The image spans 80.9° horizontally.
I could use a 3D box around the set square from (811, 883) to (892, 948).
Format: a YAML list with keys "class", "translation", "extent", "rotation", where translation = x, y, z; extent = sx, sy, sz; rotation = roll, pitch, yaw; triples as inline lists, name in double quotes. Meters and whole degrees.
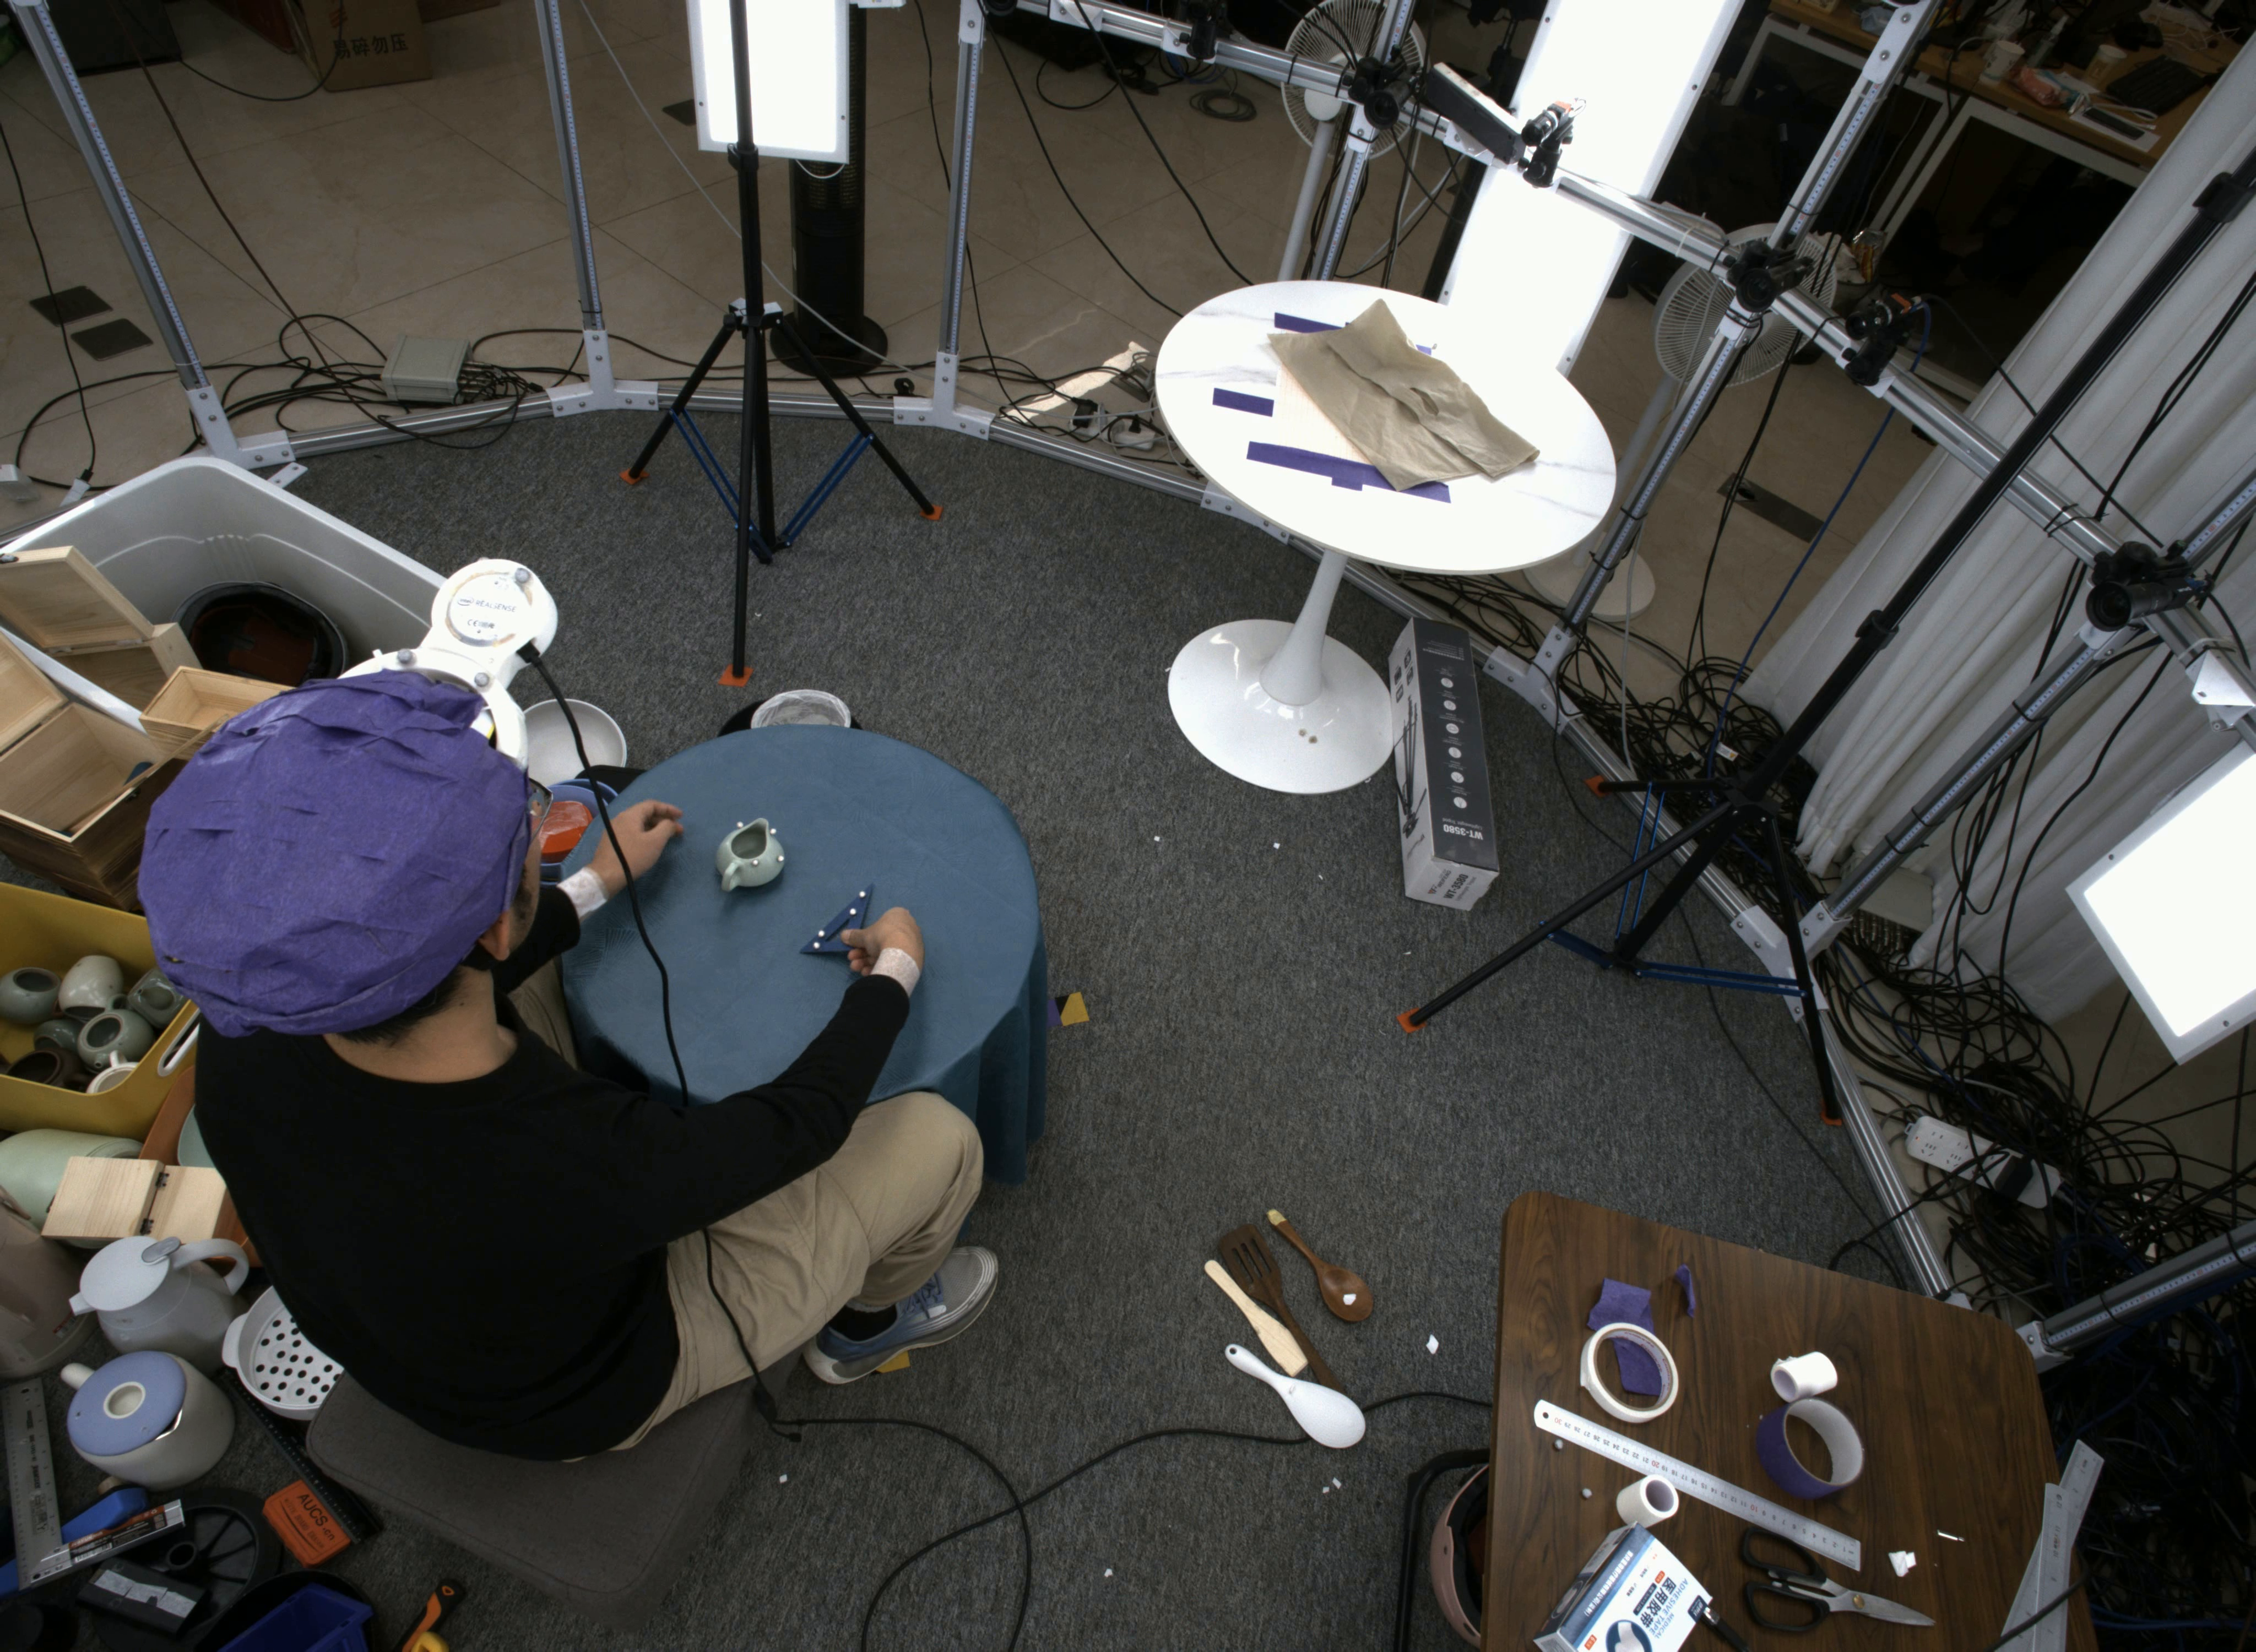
- class: "set square"
  translation: [-0.334, 0.116, 1.636]
  extent: [0.059, 0.007, 0.132]
  rotation: [24, 50, 31]

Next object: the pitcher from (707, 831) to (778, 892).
- class: "pitcher"
  translation: [-0.488, 0.046, 1.623]
  extent: [0.085, 0.061, 0.108]
  rotation: [40, 36, 5]
